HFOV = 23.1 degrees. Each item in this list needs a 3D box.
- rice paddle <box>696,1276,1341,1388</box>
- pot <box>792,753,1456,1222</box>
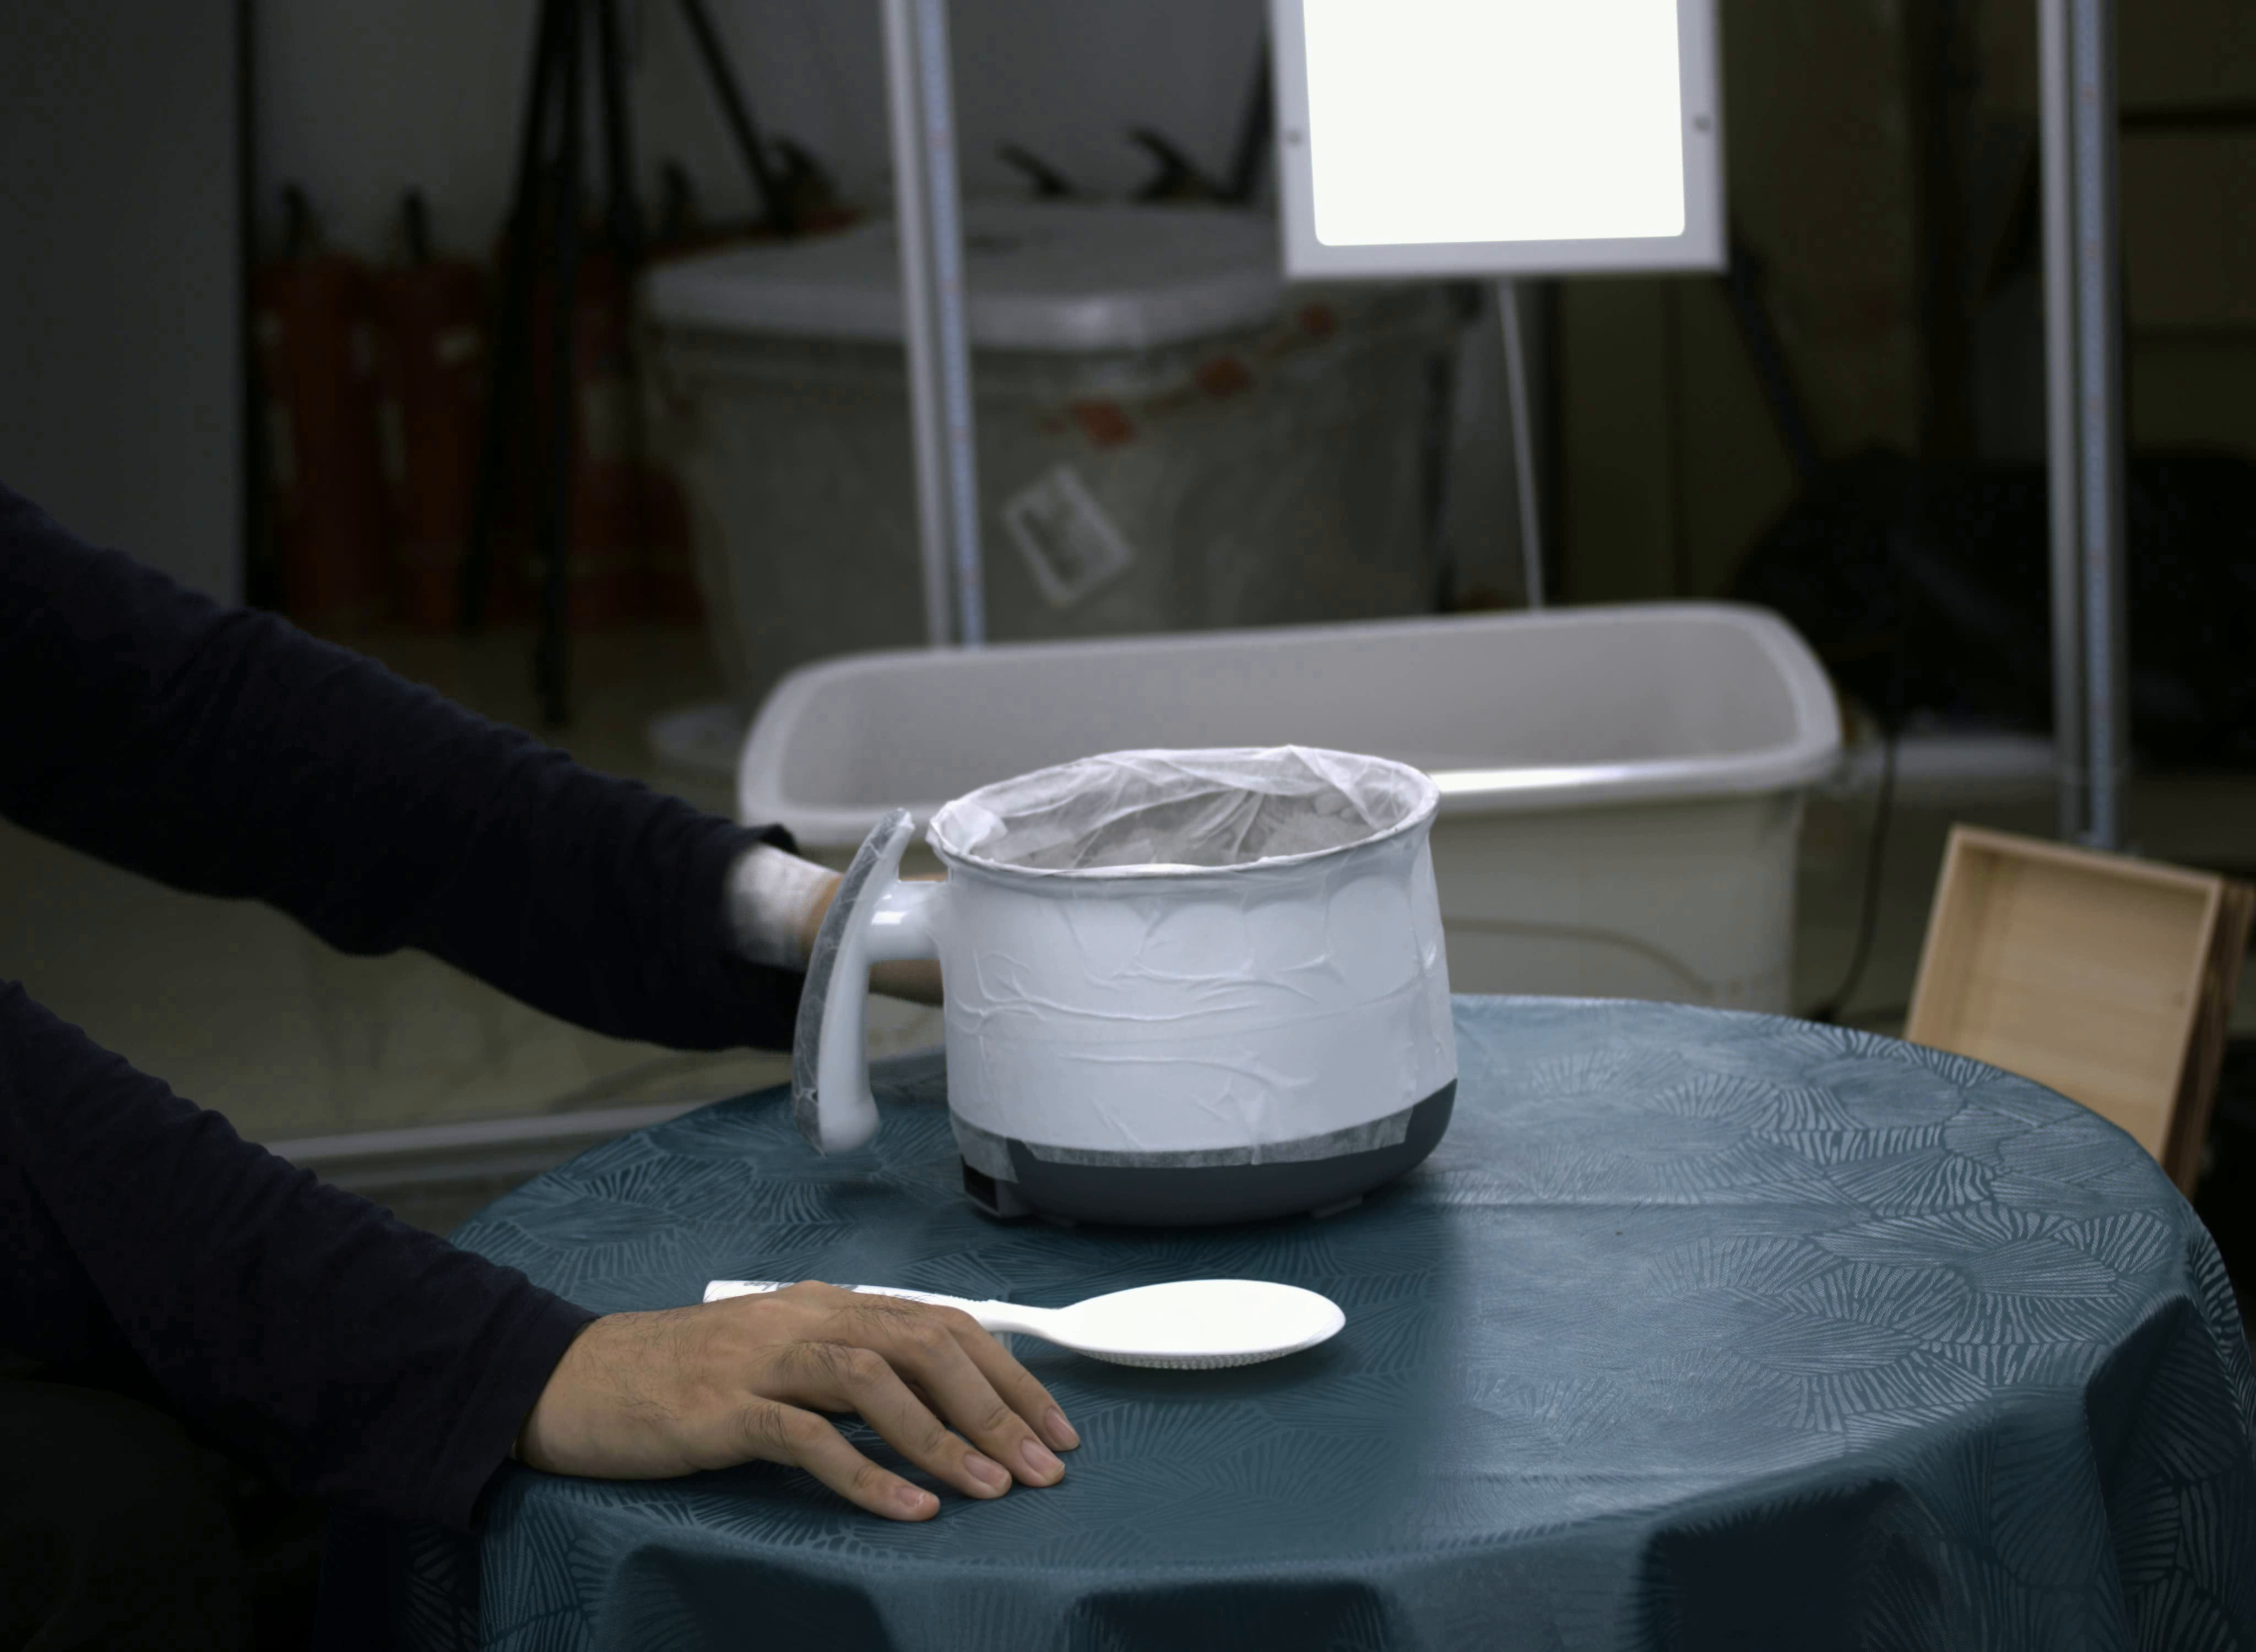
[{"bbox_3d":[-0.034,0.156,1.735,0.206,0.029,0.068,-3,15,12],"label":"rice paddle"},{"bbox_3d":[-0.003,0.056,1.902,0.234,0.137,0.177,-3,12,7],"label":"pot"}]
